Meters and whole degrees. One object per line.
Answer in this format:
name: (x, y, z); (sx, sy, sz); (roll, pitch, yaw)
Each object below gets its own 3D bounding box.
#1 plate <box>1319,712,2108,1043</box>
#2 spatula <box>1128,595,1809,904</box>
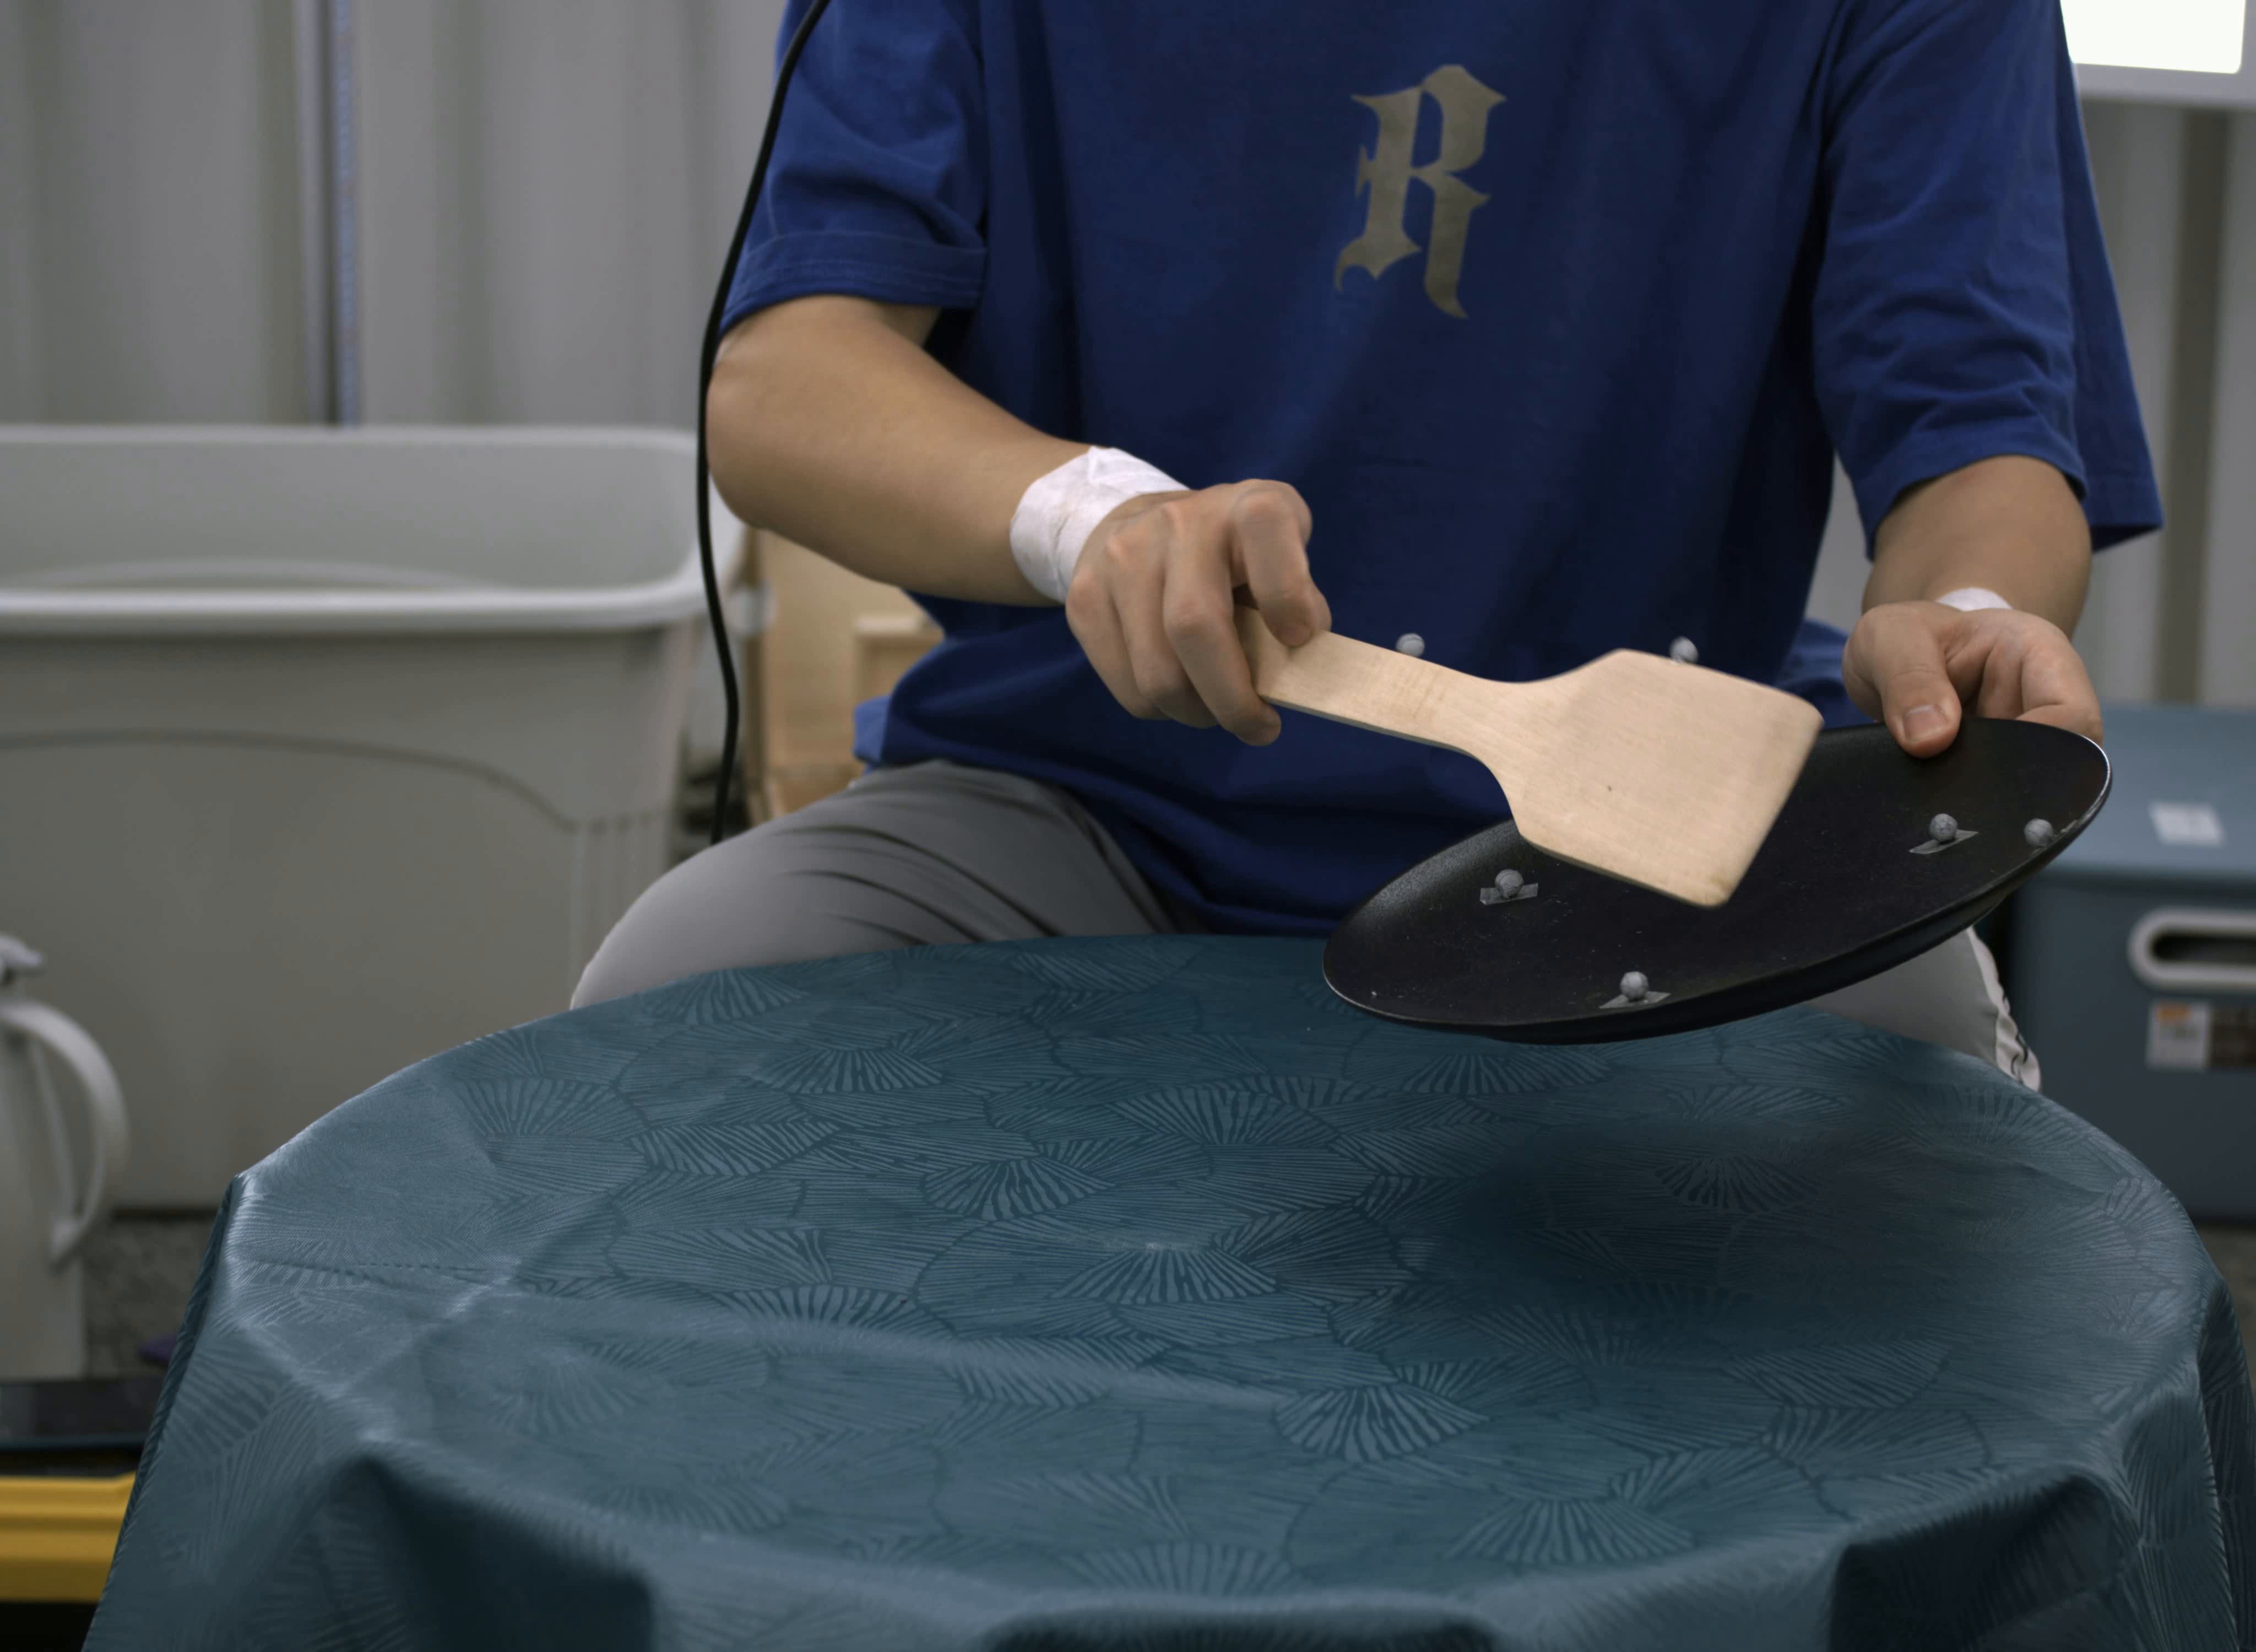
plate: (0.176, 0.019, 1.580); (0.243, 0.023, 0.243); (-15, 15, 5)
spatula: (0.094, -0.038, 1.649); (0.289, 0.072, 0.011); (19, -15, 49)
